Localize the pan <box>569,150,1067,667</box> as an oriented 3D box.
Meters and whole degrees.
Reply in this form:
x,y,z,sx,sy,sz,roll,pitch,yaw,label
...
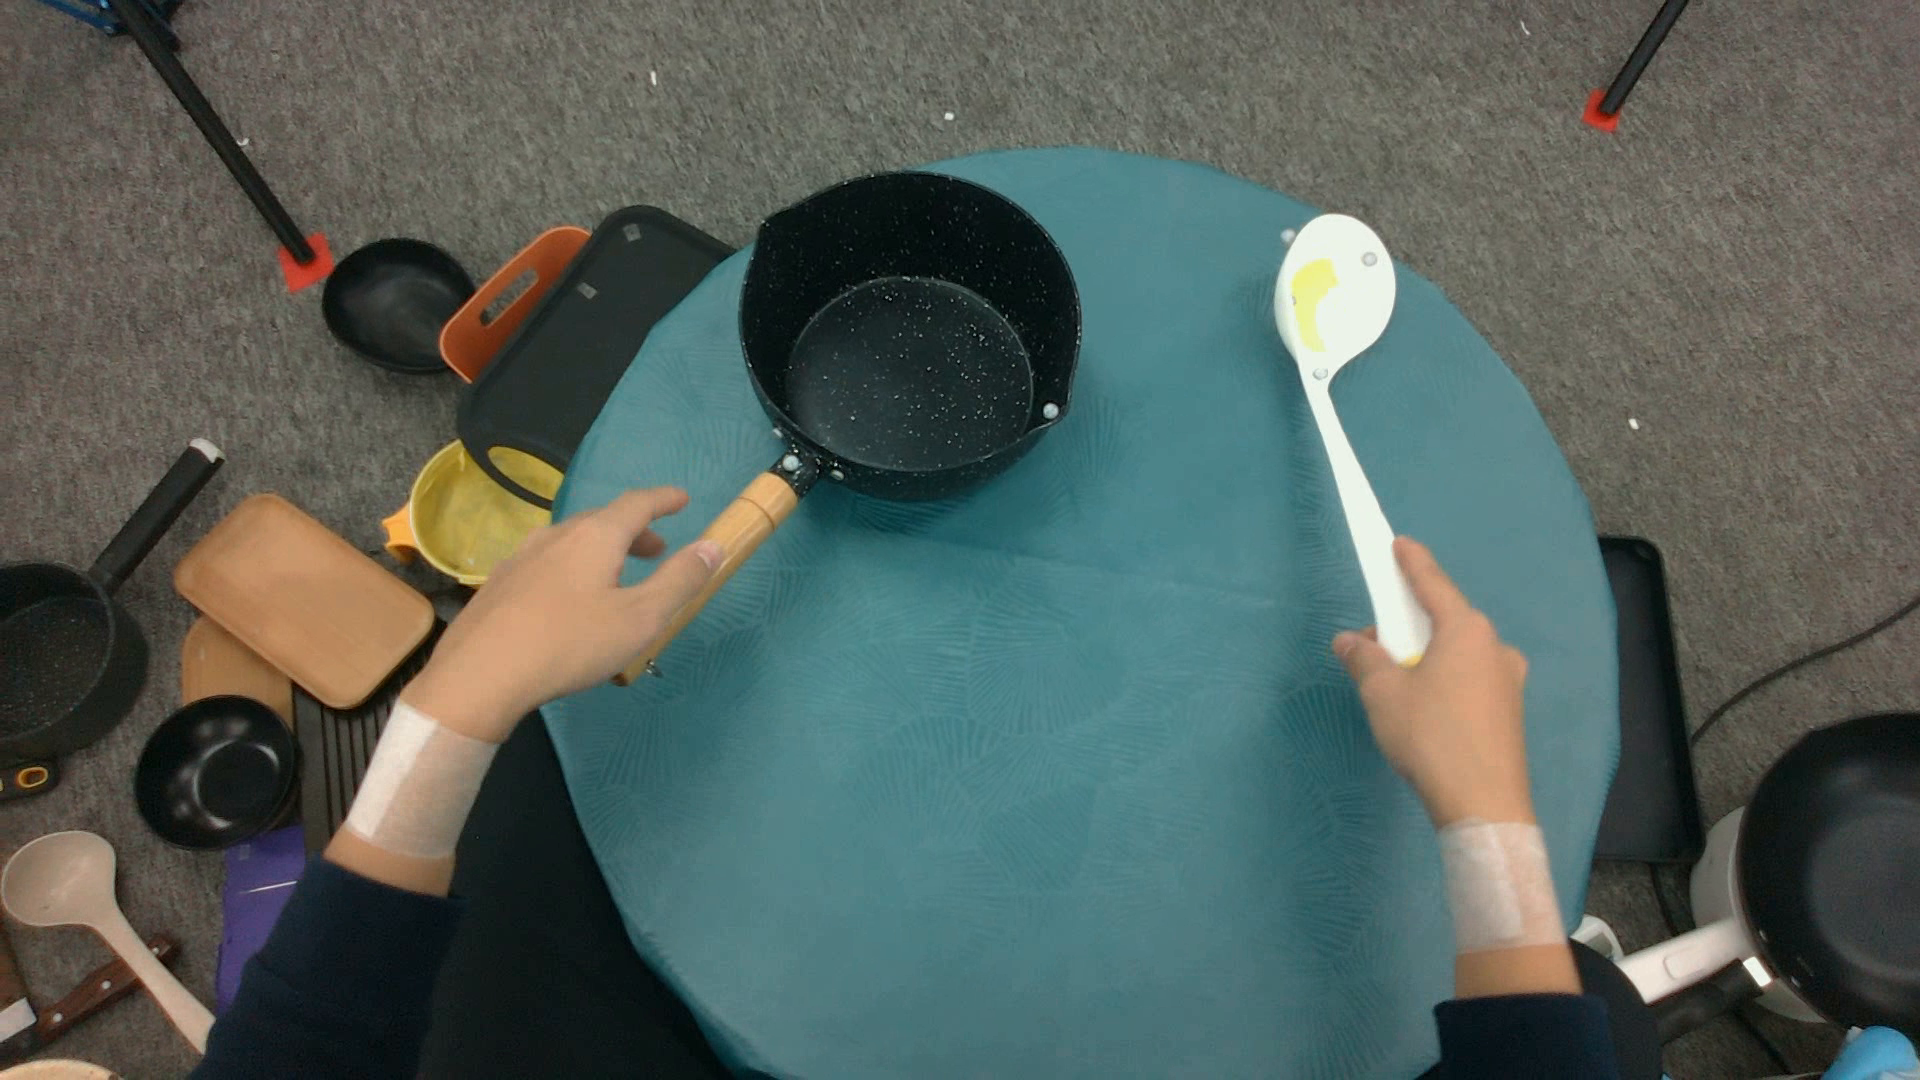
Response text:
x,y,z,sx,sy,sz,roll,pitch,yaw,label
-0.080,-0.058,0.735,0.207,0.108,0.344,32,69,8,pan

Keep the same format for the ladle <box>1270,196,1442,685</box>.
x,y,z,sx,sy,sz,roll,pitch,yaw,label
0.225,-0.063,0.754,0.069,0.090,0.294,-30,47,31,ladle
